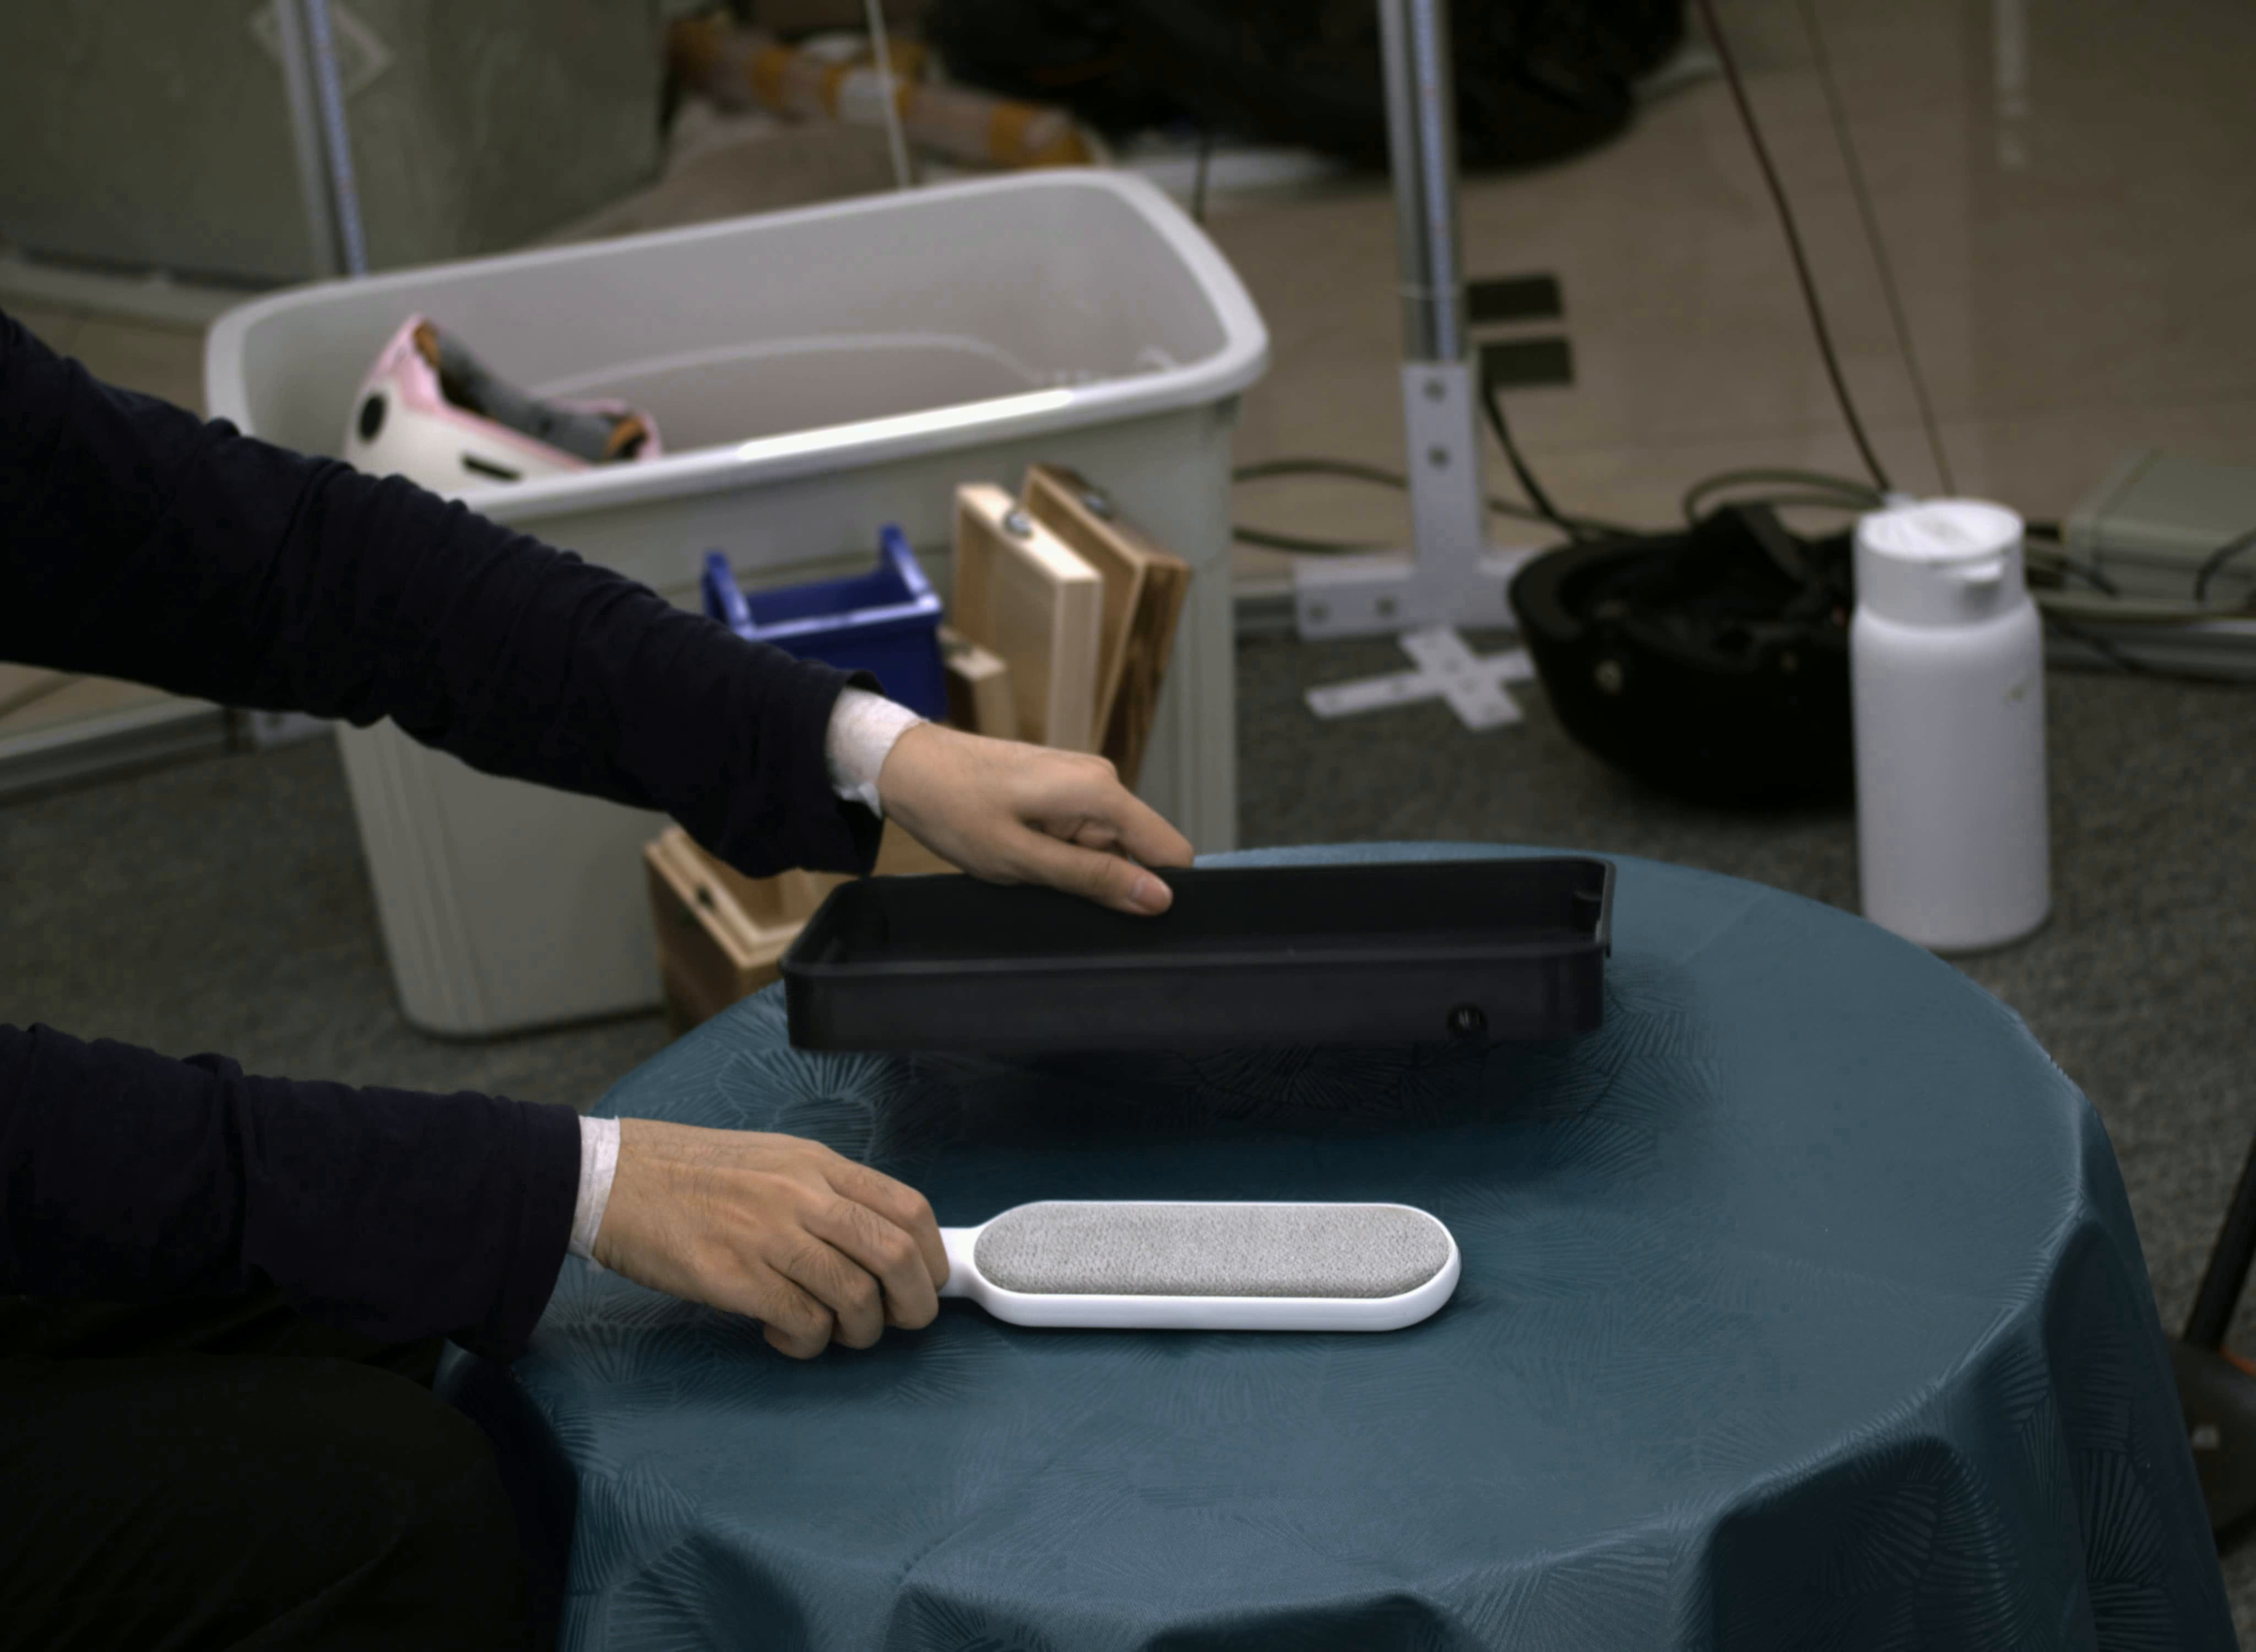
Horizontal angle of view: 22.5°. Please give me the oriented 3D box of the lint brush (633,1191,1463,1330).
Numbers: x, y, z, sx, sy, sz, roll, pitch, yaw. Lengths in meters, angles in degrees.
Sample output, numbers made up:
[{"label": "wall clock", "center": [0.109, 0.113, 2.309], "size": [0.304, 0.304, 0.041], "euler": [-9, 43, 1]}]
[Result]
[{"label": "lint brush", "center": [-0.032, 0.157, 2.074], "size": [0.308, 0.021, 0.059], "euler": [0, 40, 11]}]

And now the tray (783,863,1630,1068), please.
[{"label": "tray", "center": [0.034, 0.053, 2.216], "size": [0.317, 0.037, 0.183], "euler": [-1, 12, 8]}]
